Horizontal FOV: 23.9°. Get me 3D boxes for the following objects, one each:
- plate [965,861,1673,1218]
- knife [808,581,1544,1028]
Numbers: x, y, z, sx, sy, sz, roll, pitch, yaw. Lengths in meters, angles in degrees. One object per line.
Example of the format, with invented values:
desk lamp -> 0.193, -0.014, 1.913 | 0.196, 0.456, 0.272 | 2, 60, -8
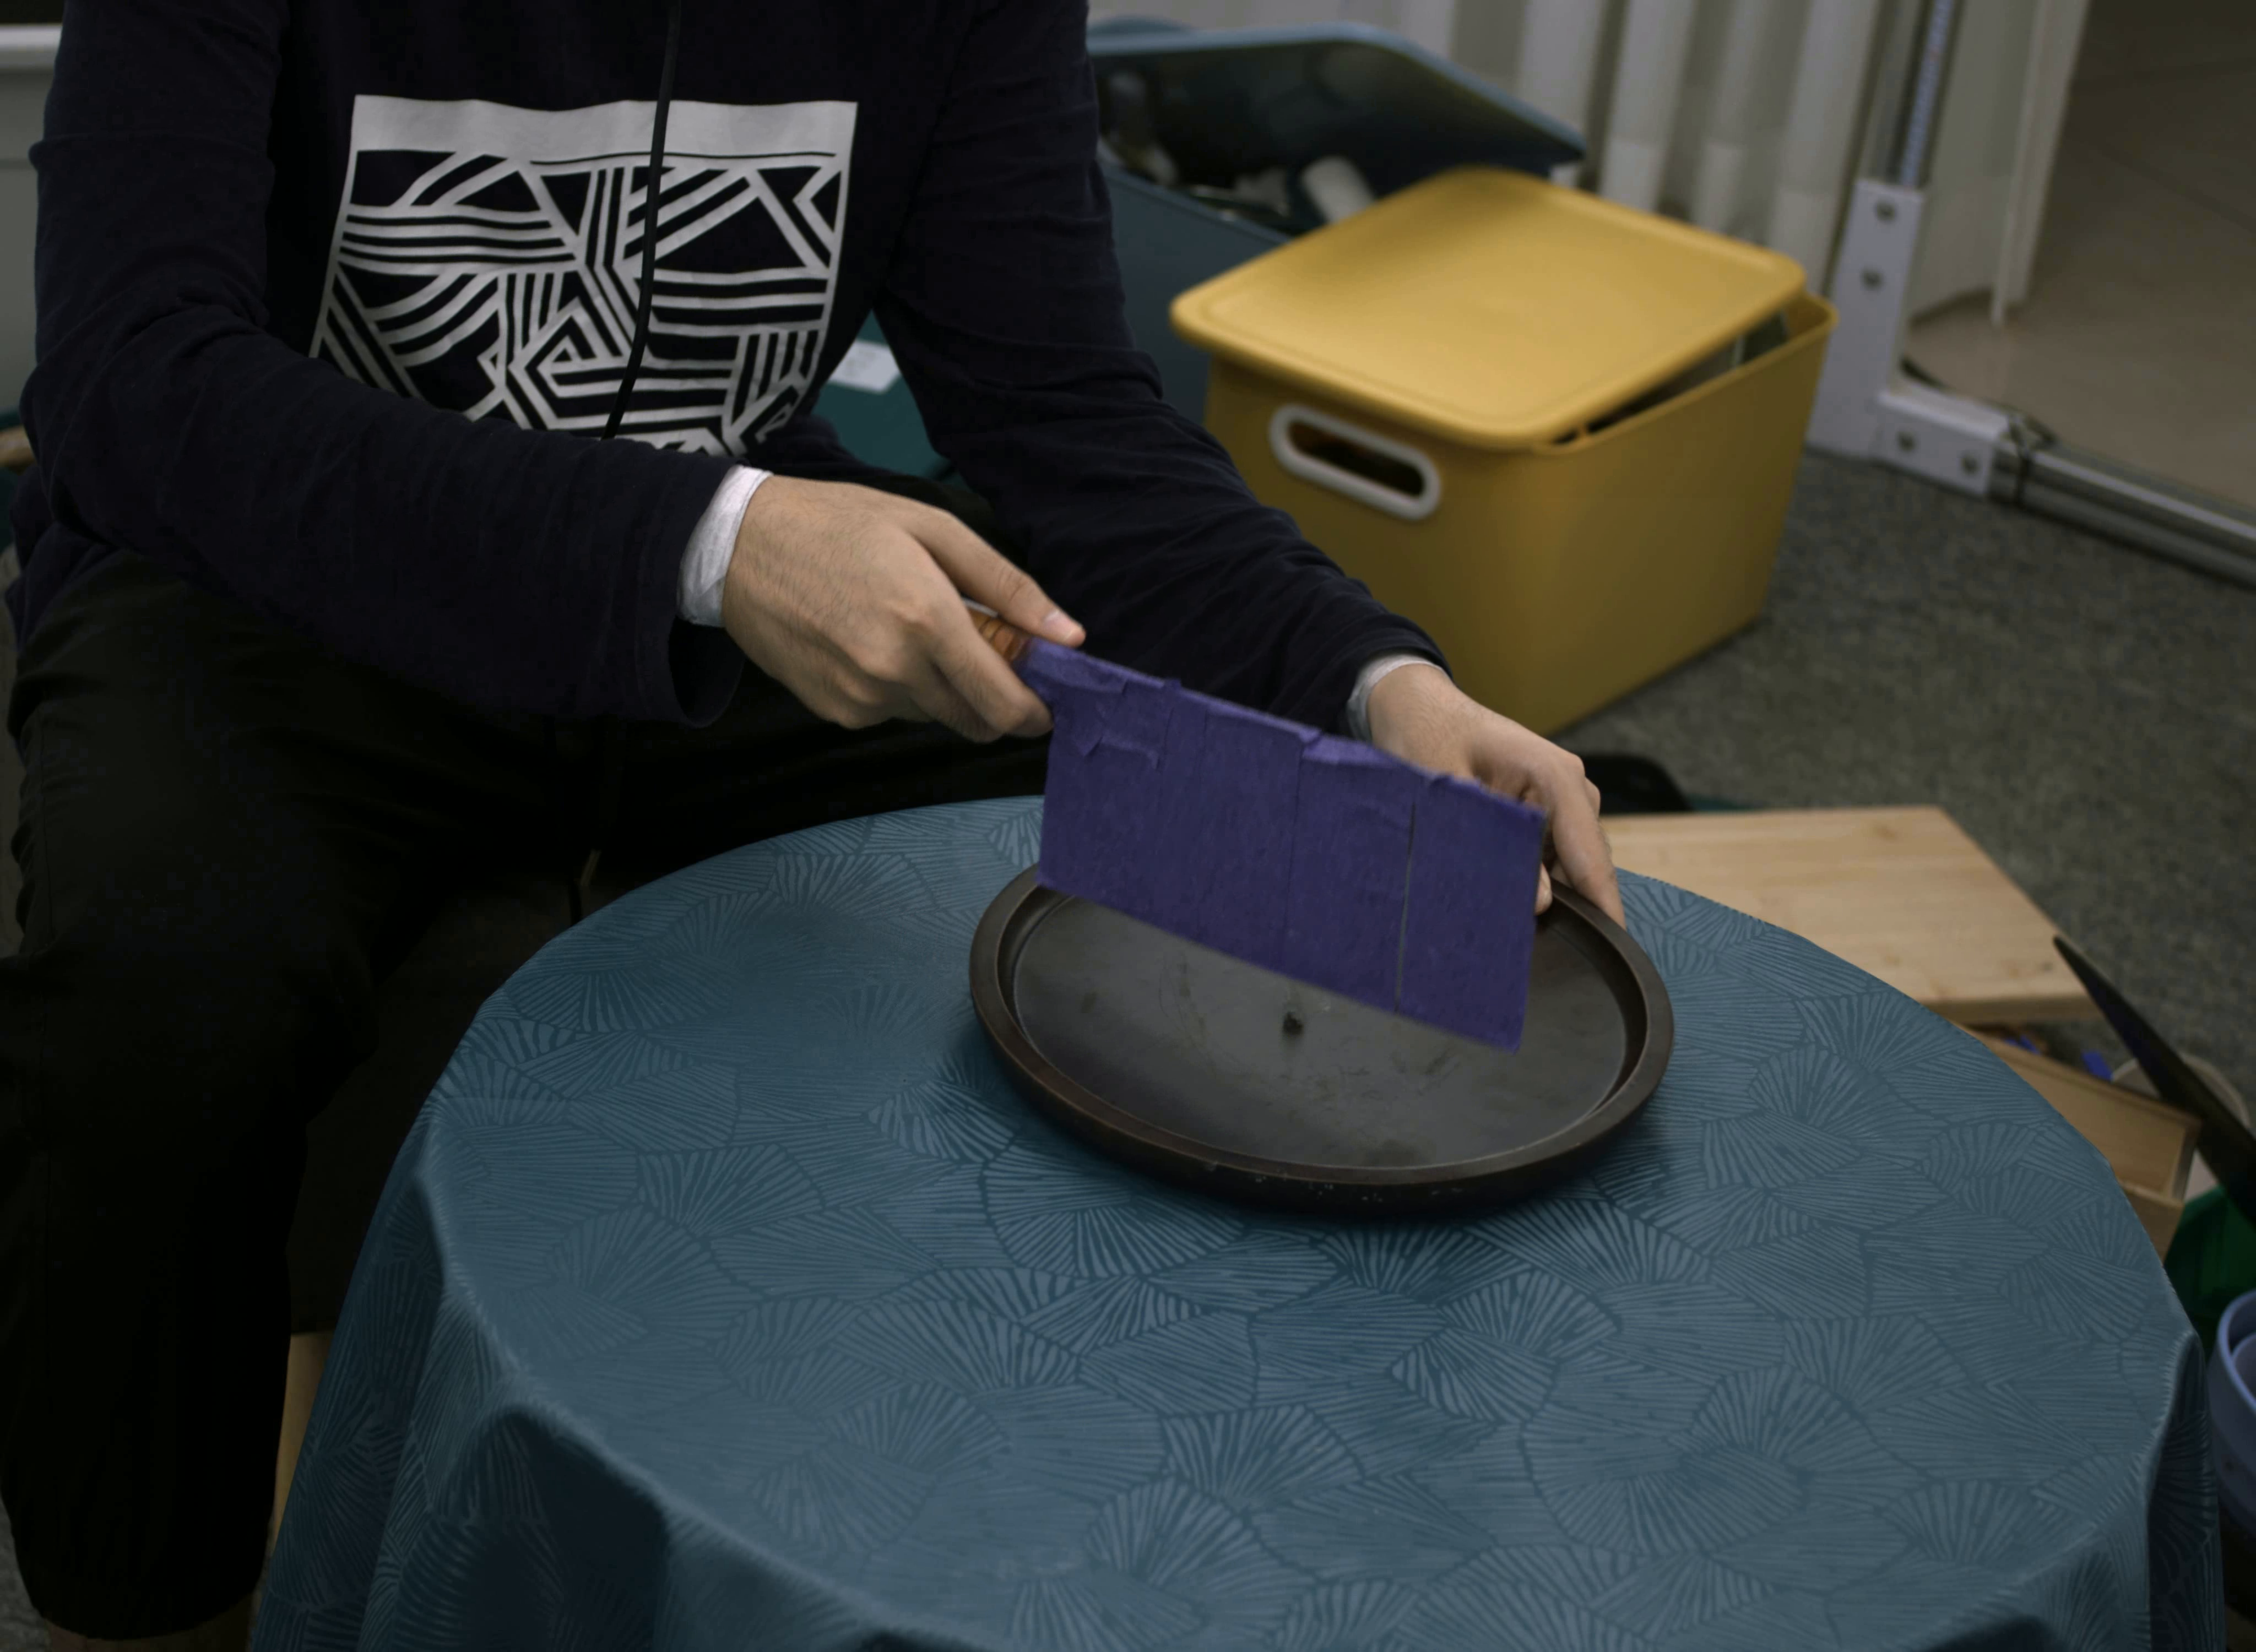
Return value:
plate -> 0.067, 0.065, 1.897 | 0.254, 0.029, 0.256 | 4, 30, -2
knife -> 0.010, -0.006, 1.868 | 0.317, 0.104, 0.032 | 19, 22, 35
